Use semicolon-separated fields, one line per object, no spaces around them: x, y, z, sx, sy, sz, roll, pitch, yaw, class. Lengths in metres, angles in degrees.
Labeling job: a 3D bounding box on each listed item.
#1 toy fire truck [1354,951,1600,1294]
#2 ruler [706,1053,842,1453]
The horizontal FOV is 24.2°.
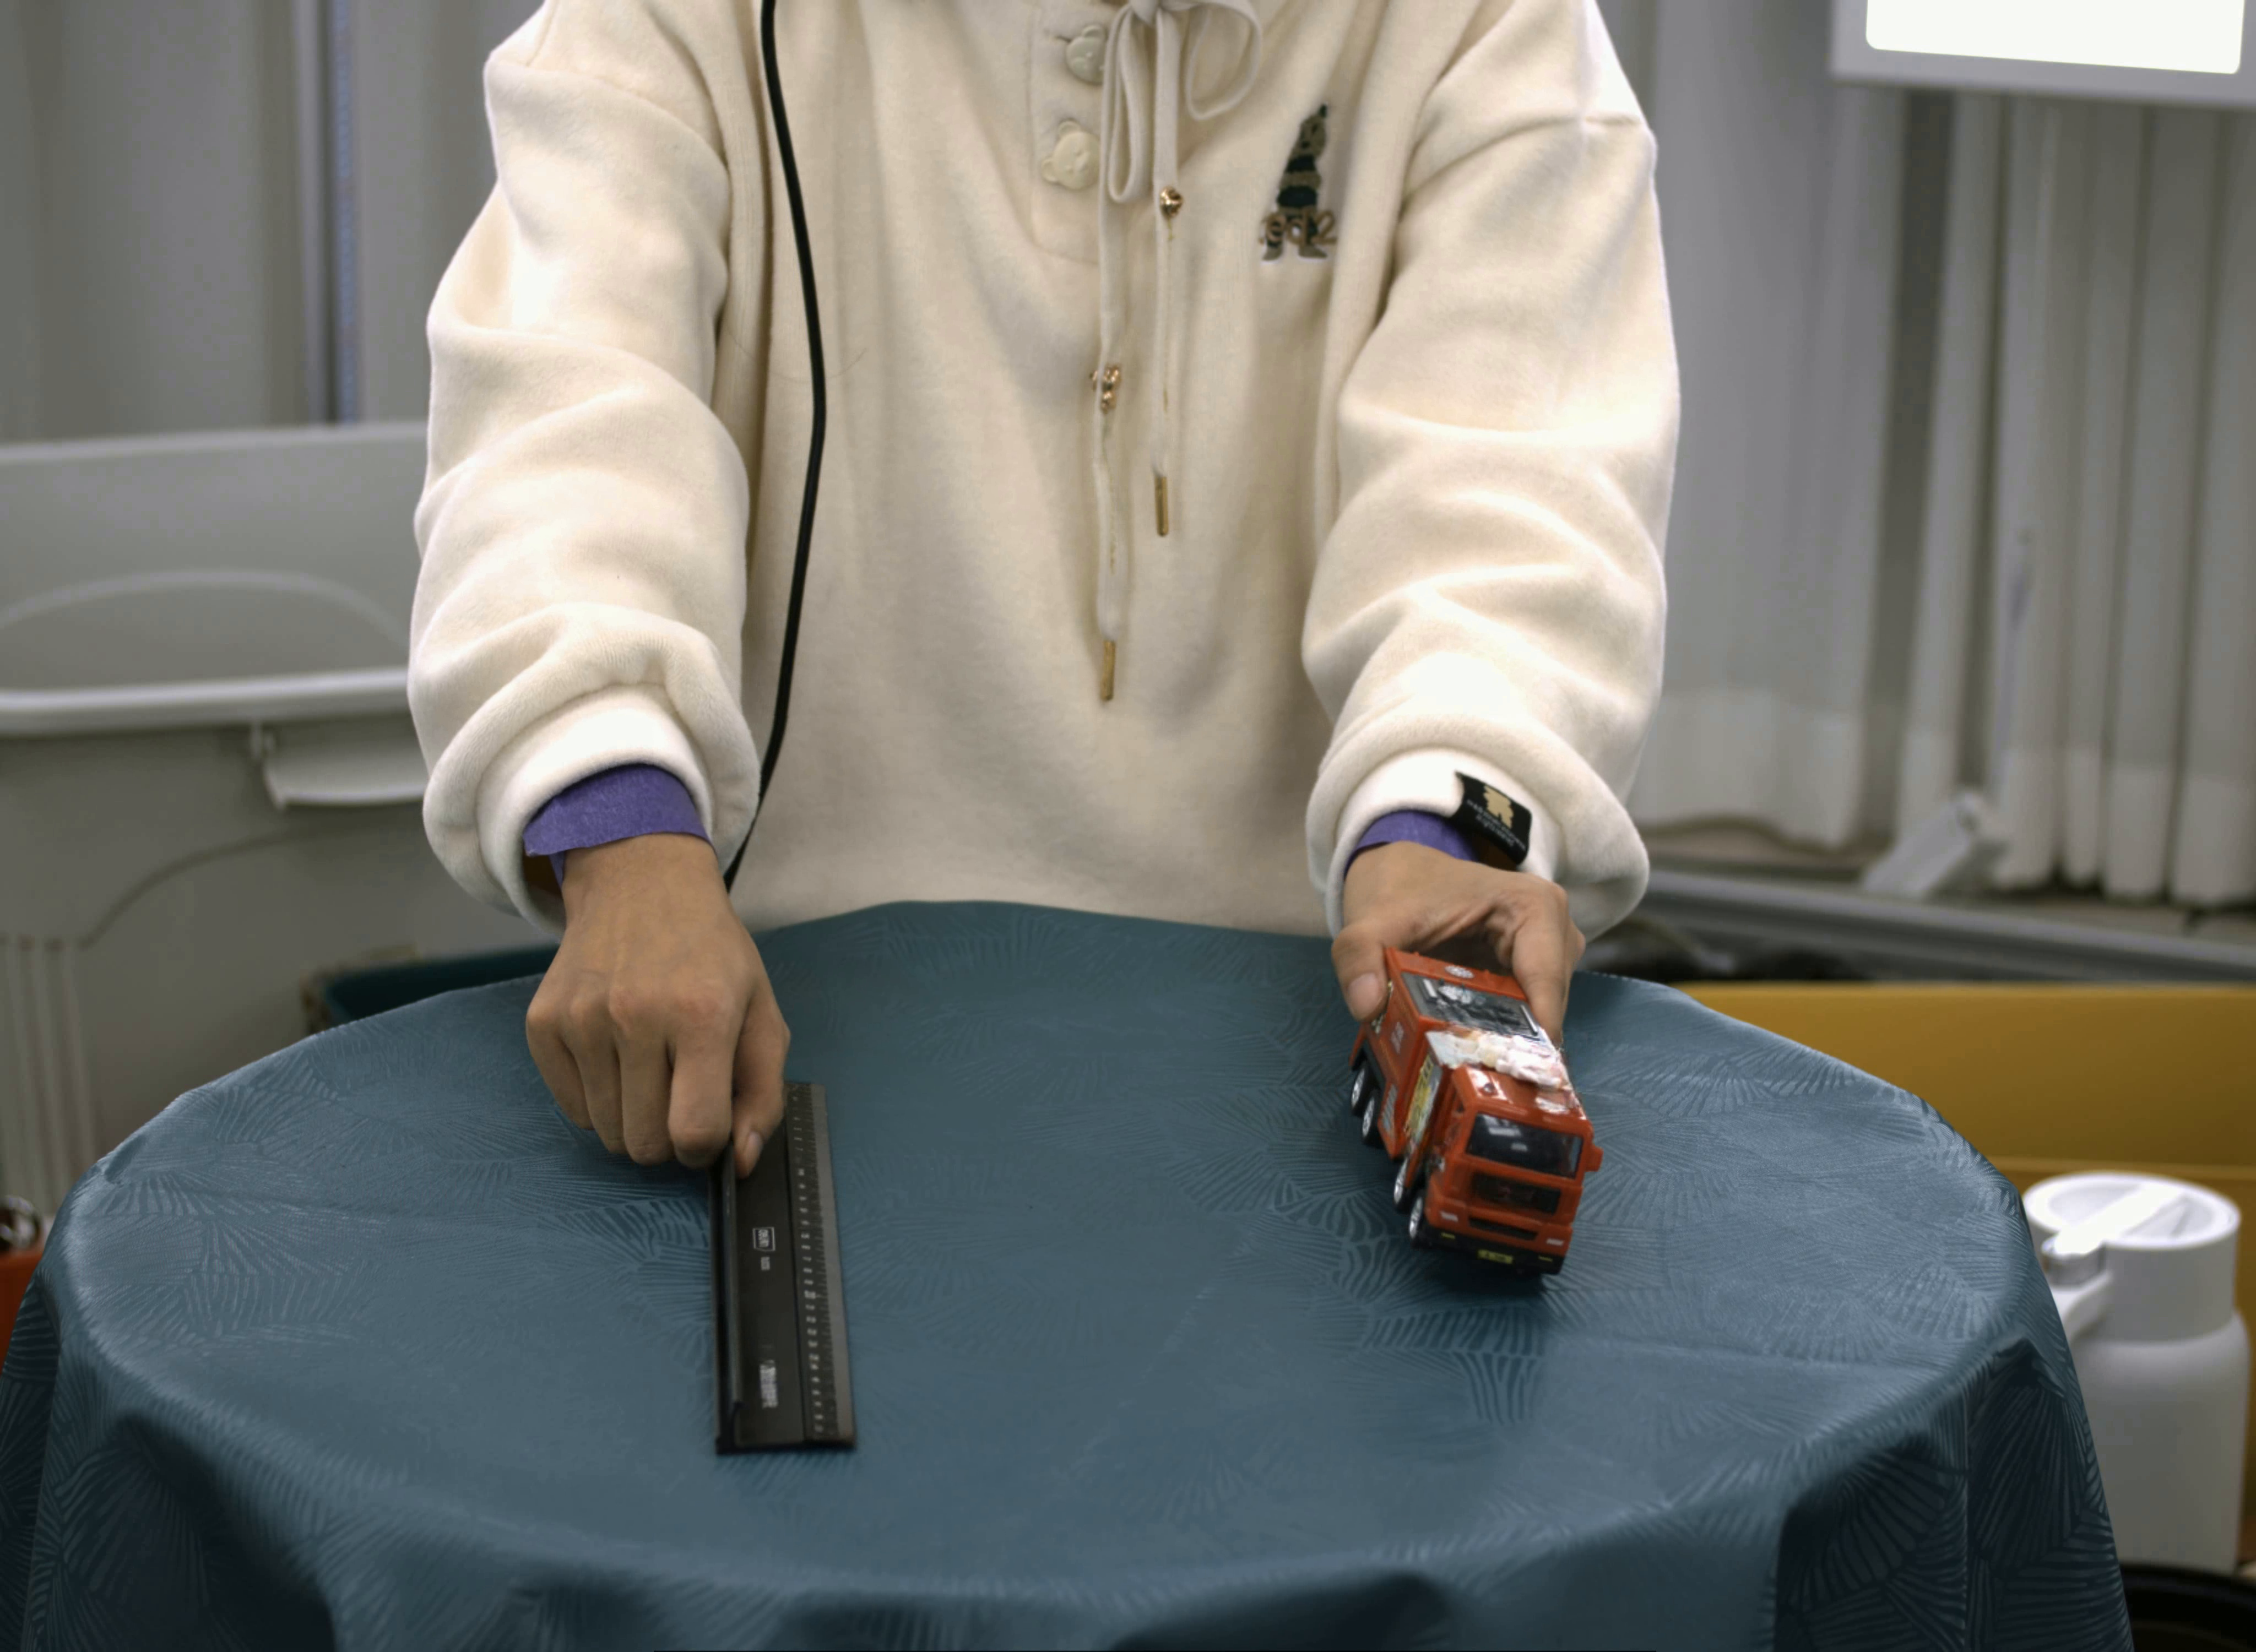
0.105;0.086;1.595;0.054;0.071;0.167;12;12;-9;toy fire truck
-0.105;0.120;1.557;0.039;0.017;0.310;1;15;-4;ruler
